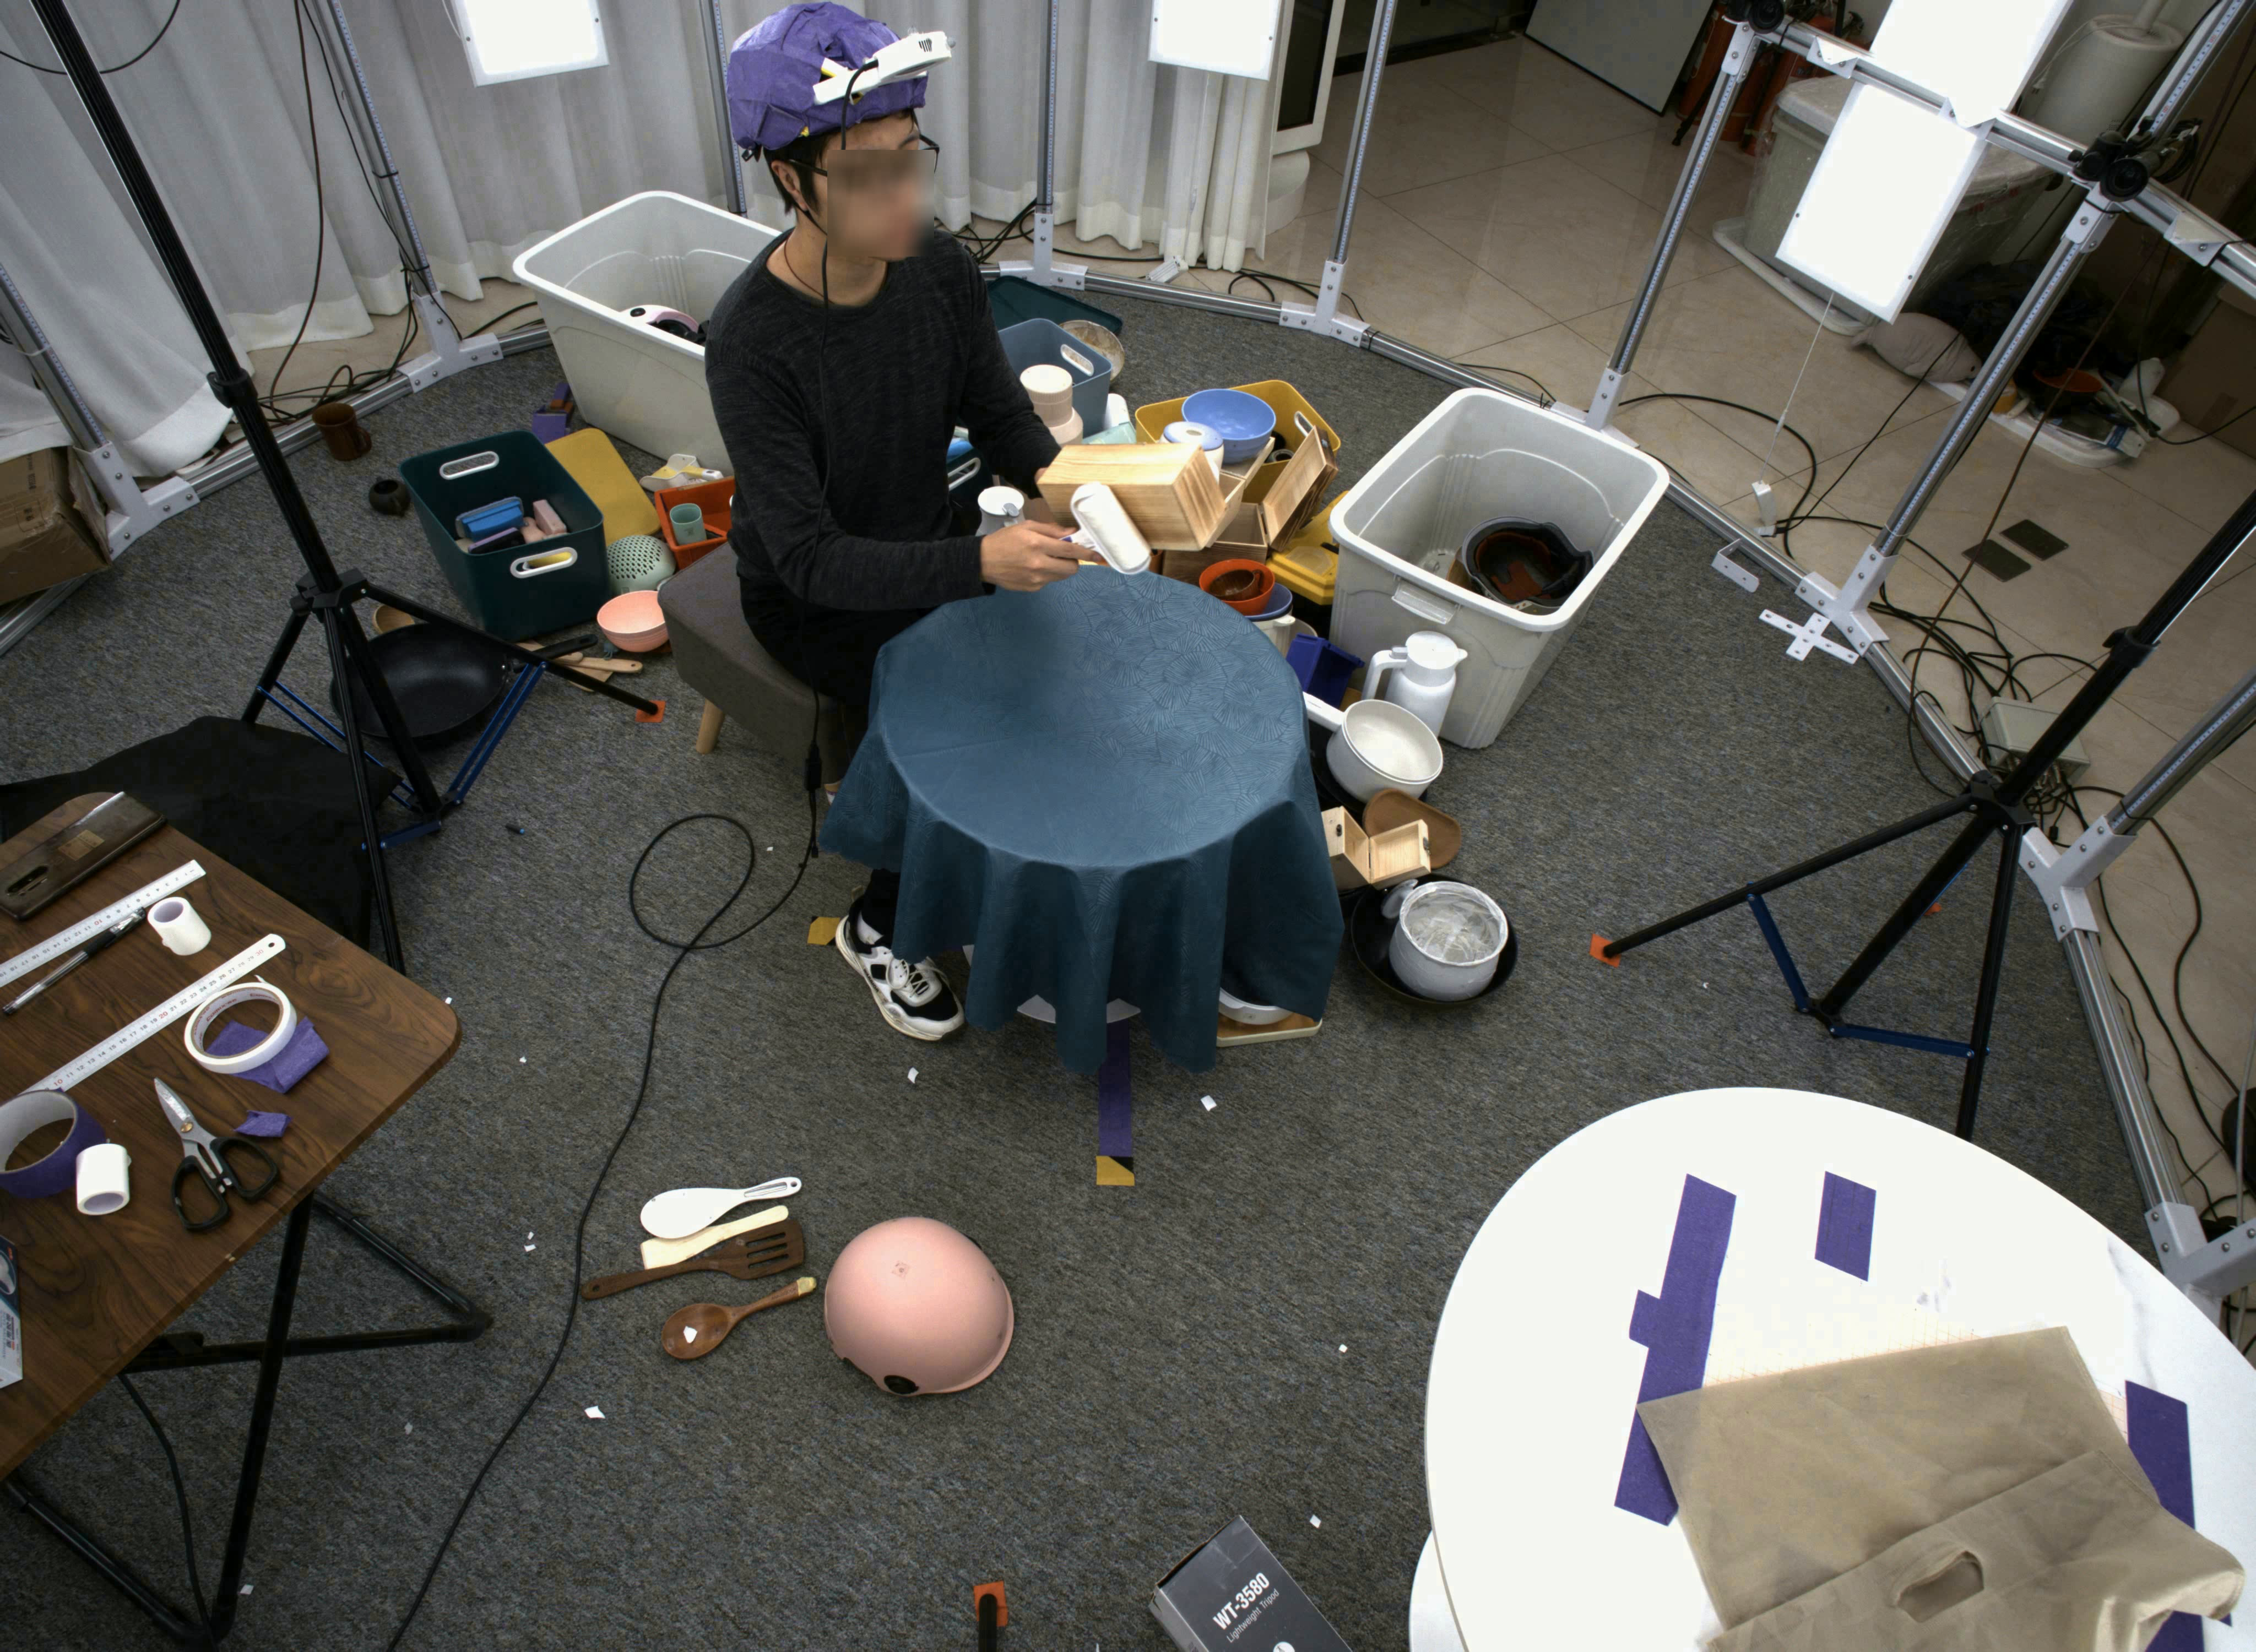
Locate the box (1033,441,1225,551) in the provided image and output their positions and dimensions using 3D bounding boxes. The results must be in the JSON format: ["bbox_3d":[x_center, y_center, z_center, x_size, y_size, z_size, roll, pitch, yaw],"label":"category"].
[{"bbox_3d":[0.001,-0.416,1.626,0.213,0.105,0.081,11,57,35],"label":"box"}]

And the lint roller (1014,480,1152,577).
[{"bbox_3d":[-0.072,-0.347,1.611,0.180,0.130,0.051,-20,38,23],"label":"lint roller"}]
